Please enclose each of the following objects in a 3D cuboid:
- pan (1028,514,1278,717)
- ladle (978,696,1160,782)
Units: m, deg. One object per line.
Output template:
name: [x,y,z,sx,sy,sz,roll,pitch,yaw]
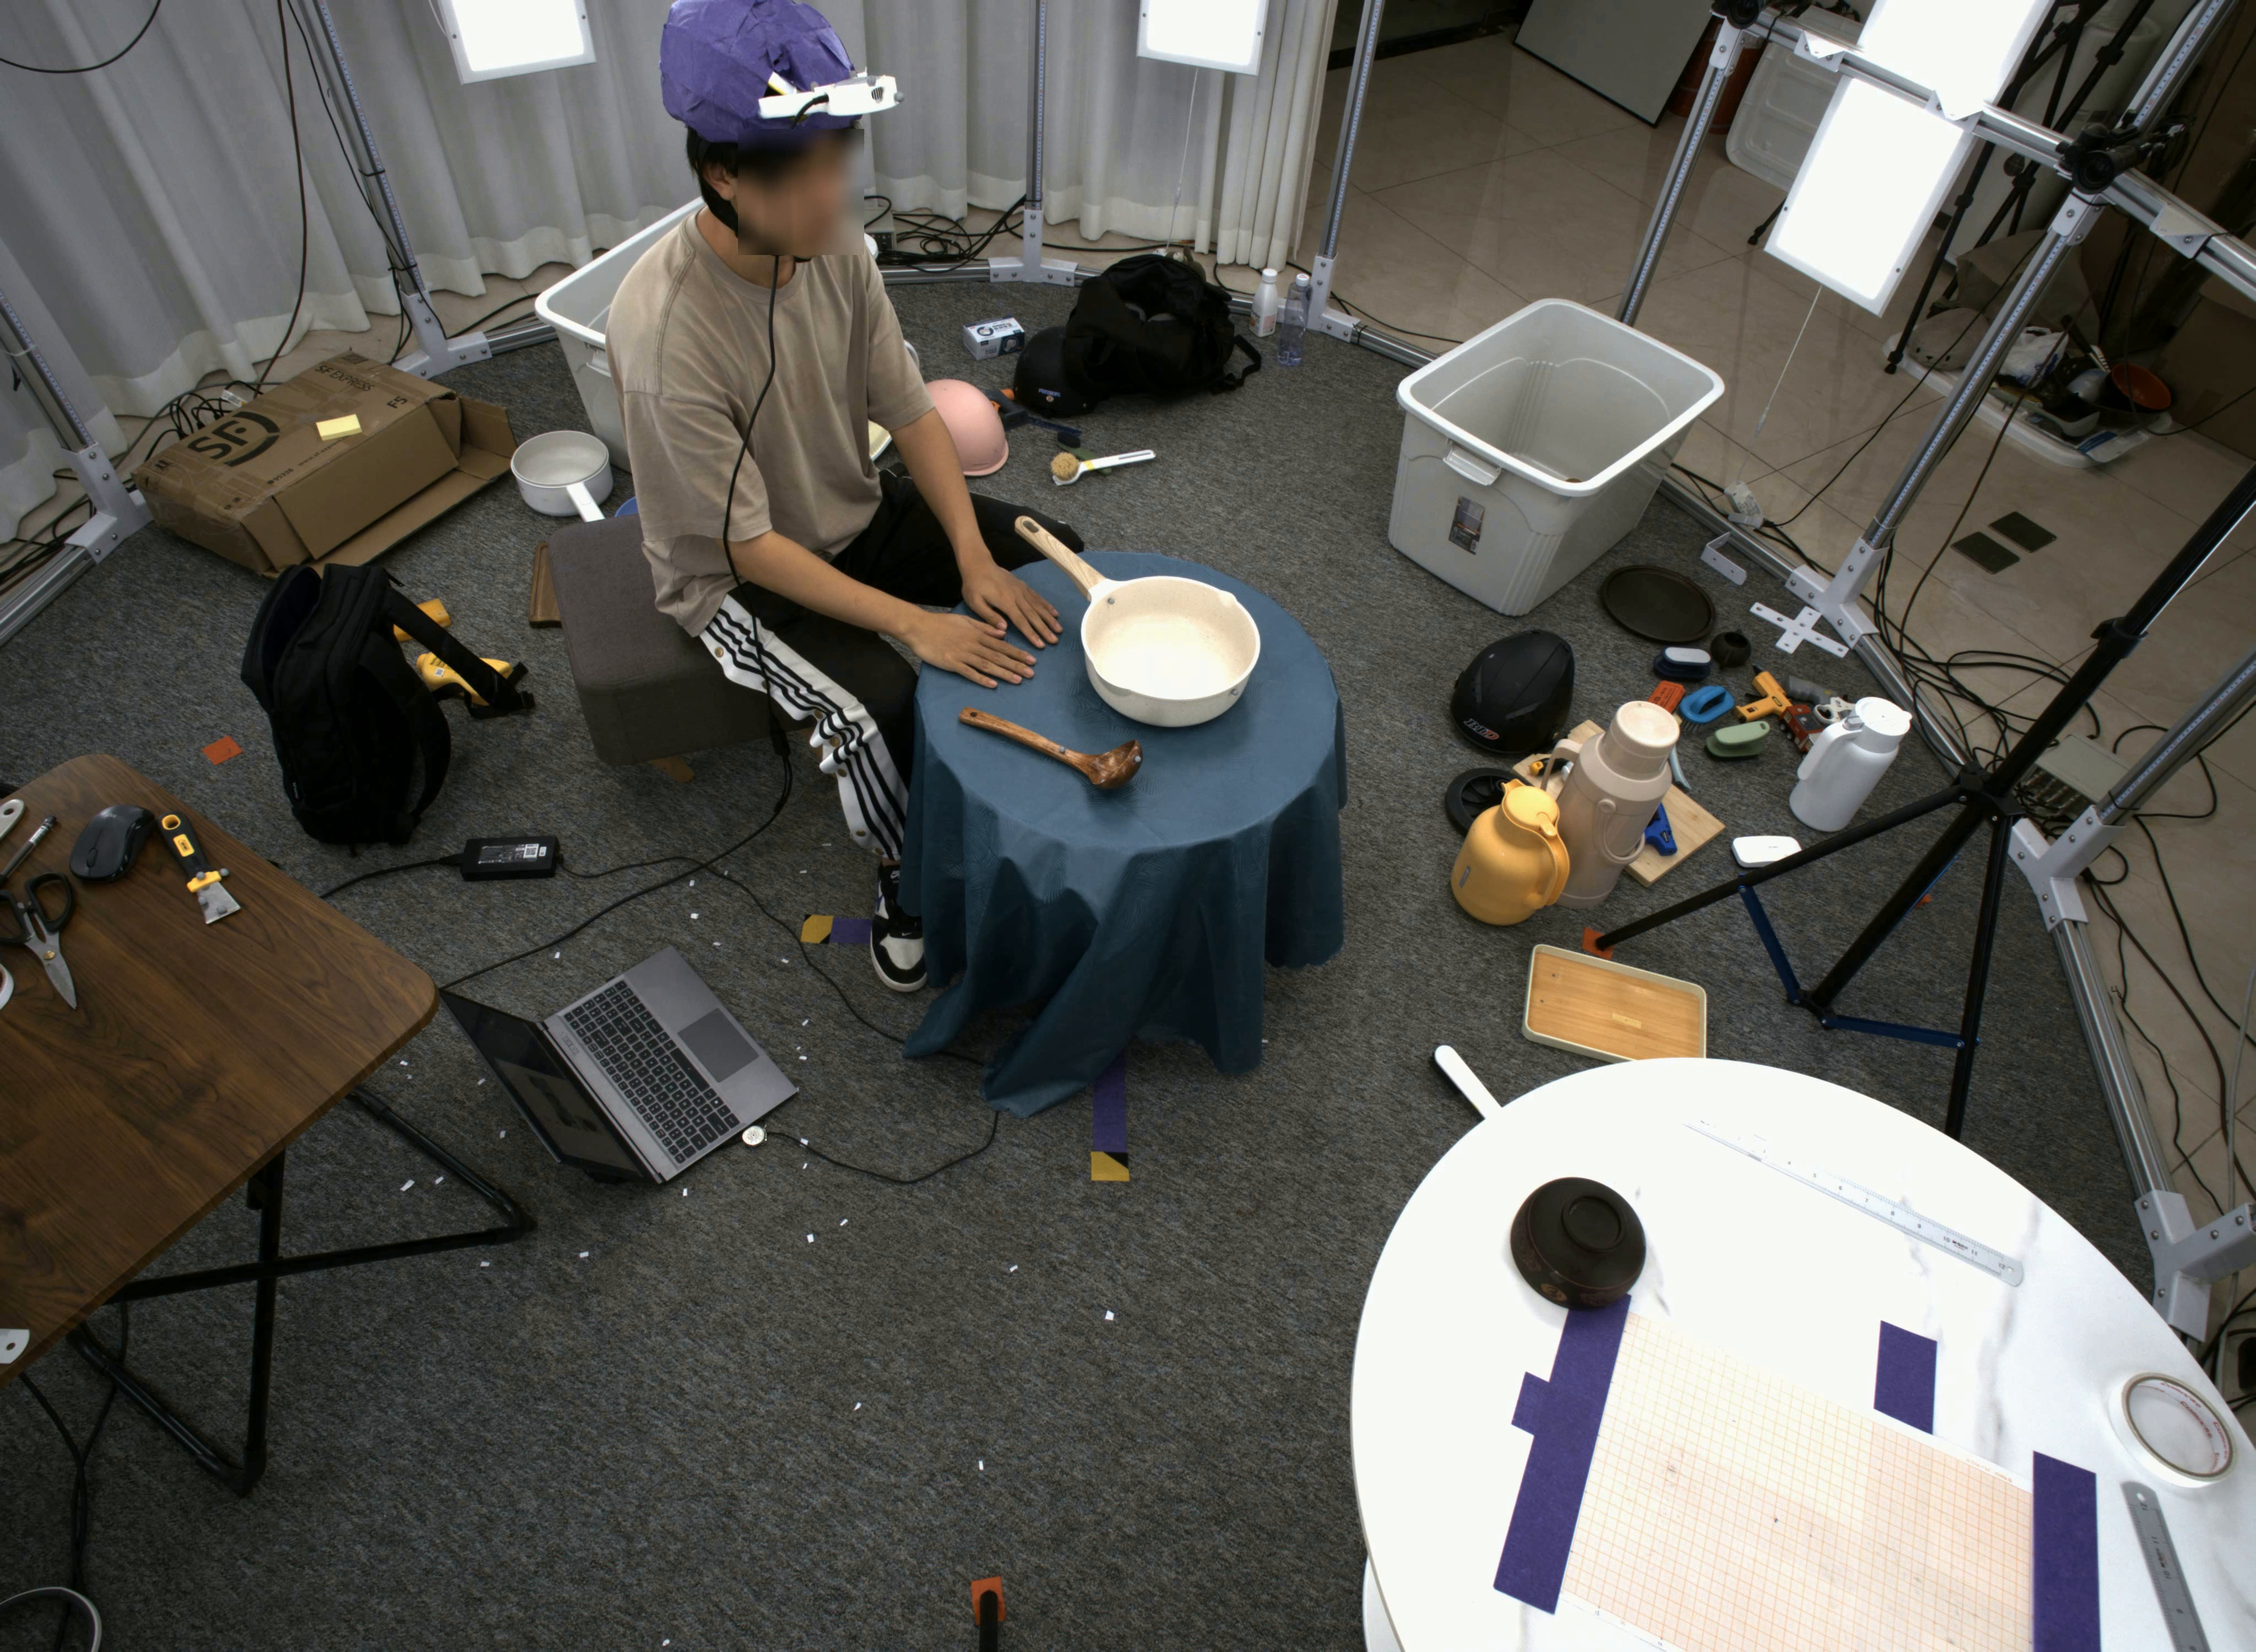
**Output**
pan: [0.016,-0.311,1.862,0.441,0.099,0.266,37,57,25]
ladle: [-0.084,-0.132,1.708,0.276,0.075,0.083,26,52,16]
